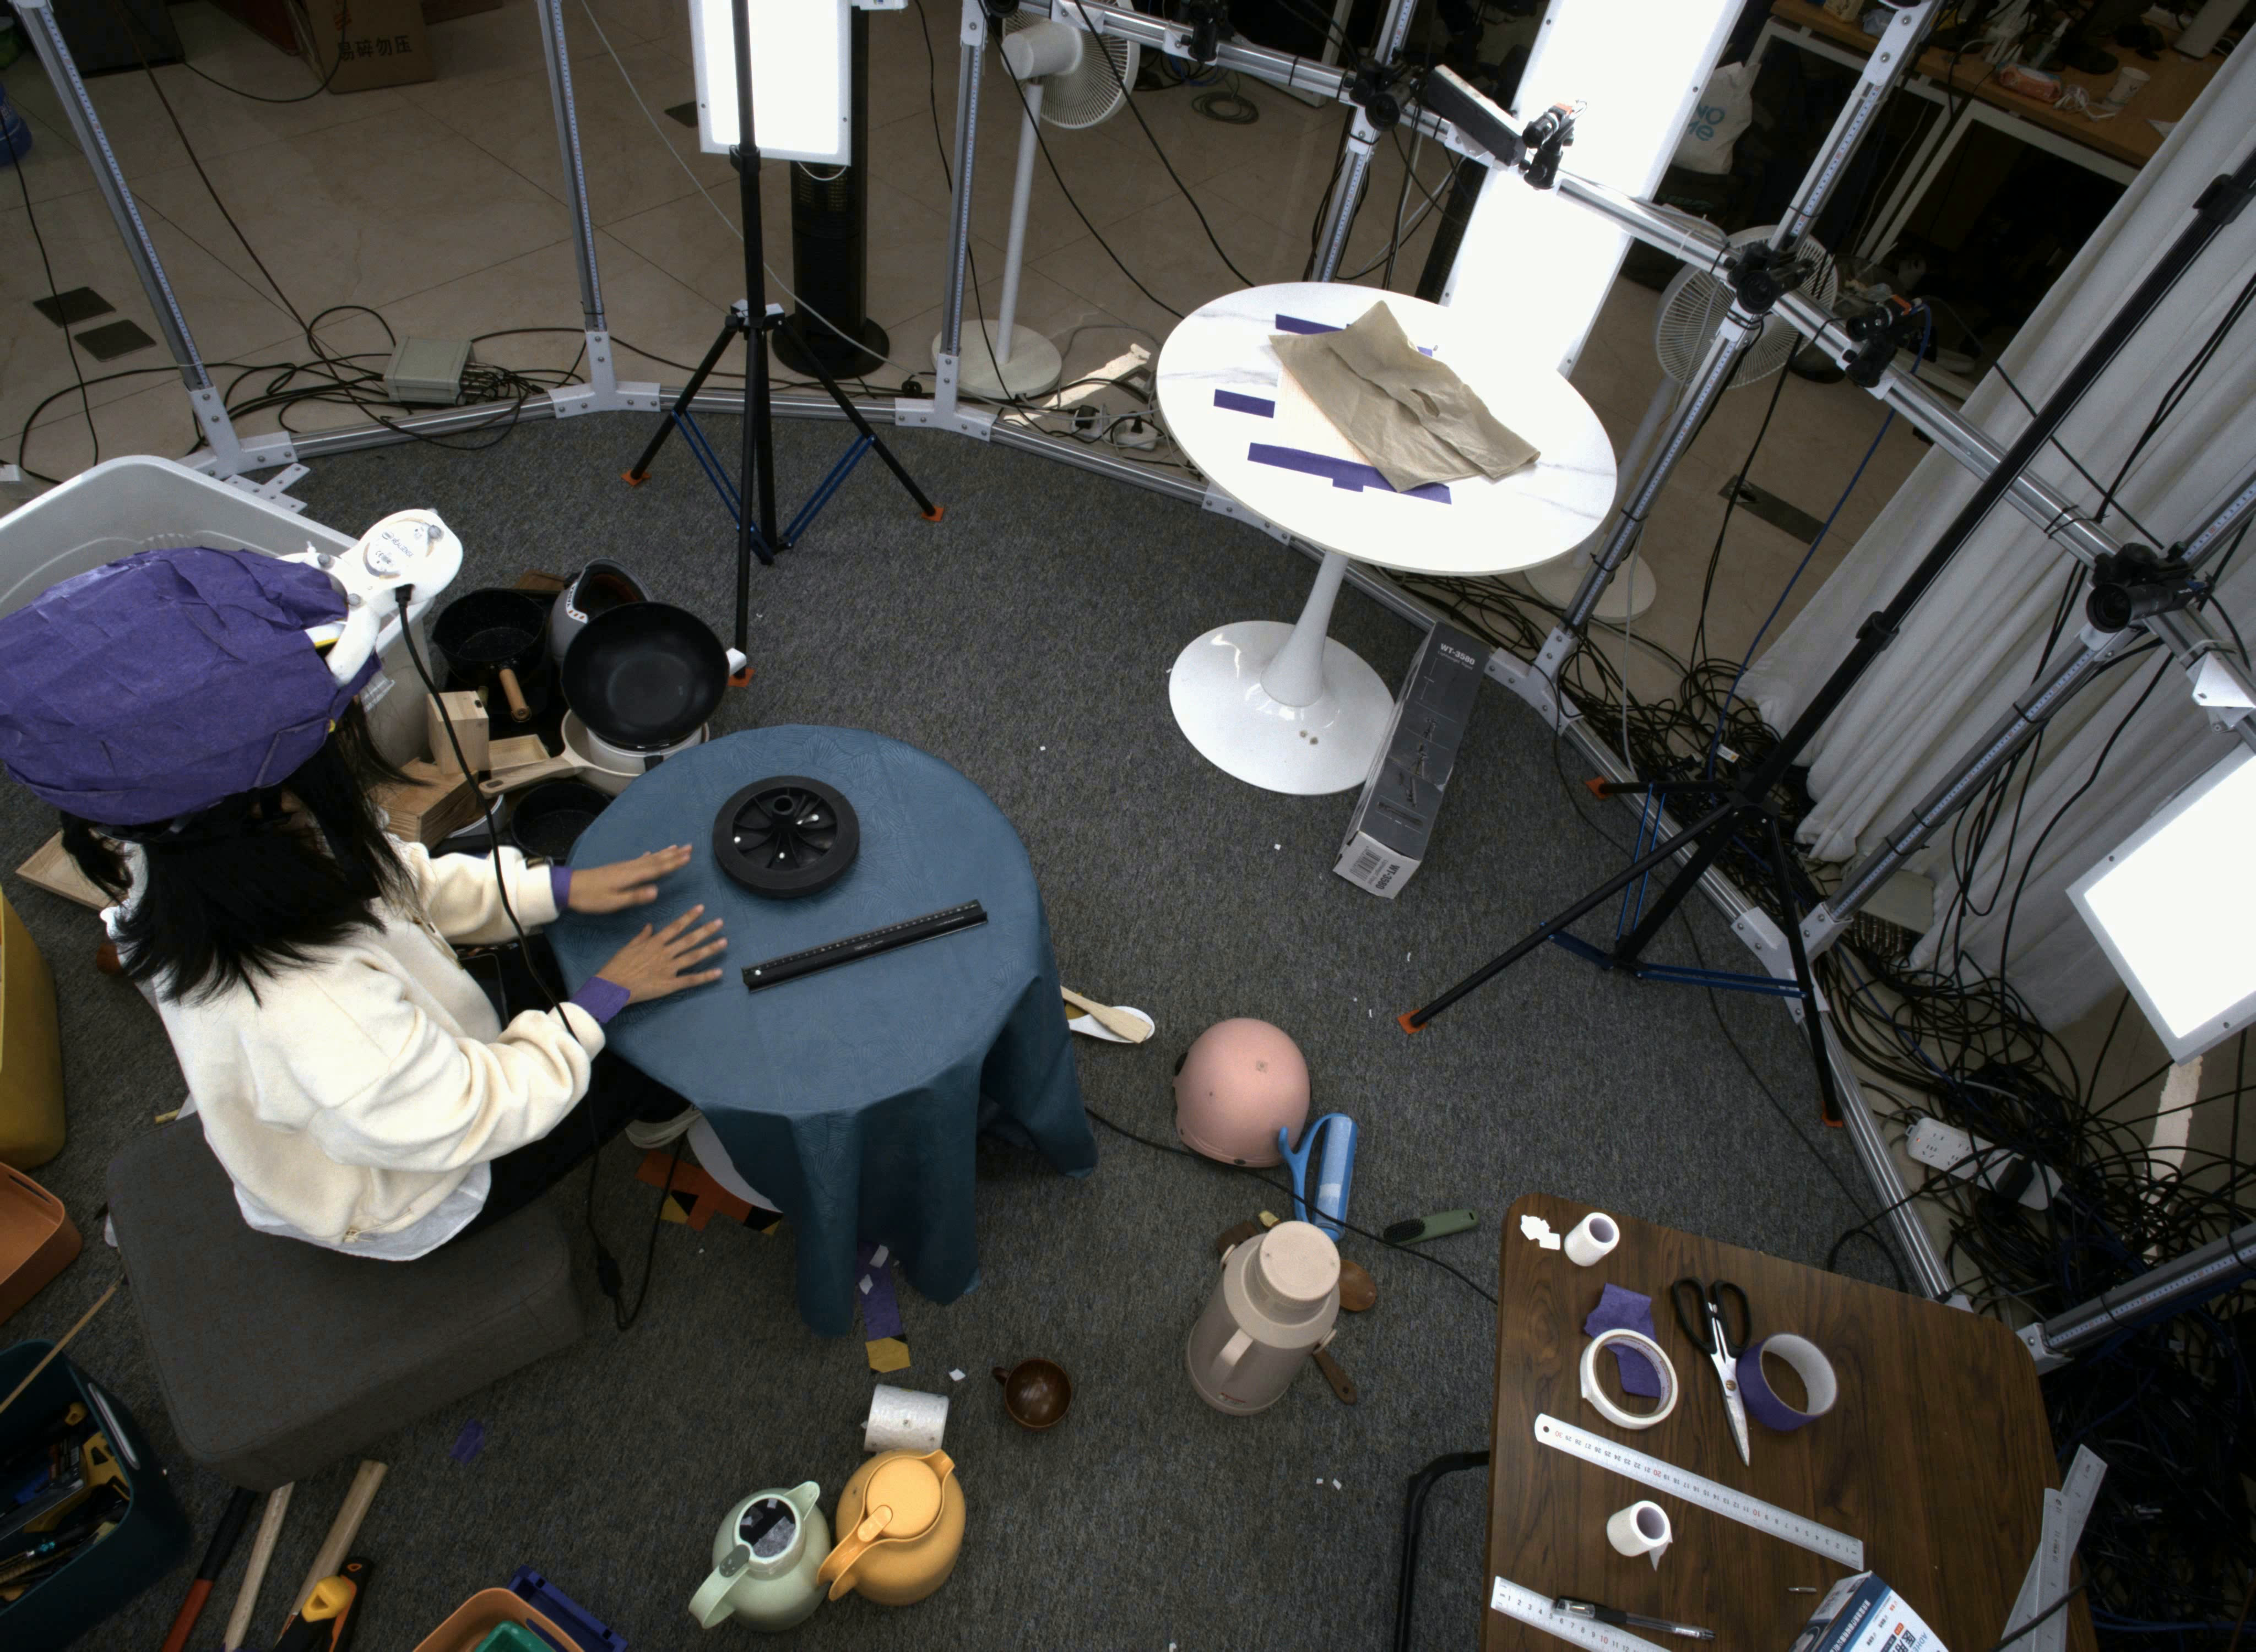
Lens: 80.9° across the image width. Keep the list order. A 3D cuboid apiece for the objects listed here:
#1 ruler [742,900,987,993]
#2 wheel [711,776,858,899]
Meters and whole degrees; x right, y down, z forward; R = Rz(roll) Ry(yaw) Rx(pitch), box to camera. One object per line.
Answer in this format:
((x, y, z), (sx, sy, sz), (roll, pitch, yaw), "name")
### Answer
((-0.326, 0.142, 1.628), (0.314, 0.017, 0.038), (-16, 55, -24), "ruler")
((-0.443, -0.002, 1.666), (0.187, 0.081, 0.185), (-2, 53, -13), "wheel")
